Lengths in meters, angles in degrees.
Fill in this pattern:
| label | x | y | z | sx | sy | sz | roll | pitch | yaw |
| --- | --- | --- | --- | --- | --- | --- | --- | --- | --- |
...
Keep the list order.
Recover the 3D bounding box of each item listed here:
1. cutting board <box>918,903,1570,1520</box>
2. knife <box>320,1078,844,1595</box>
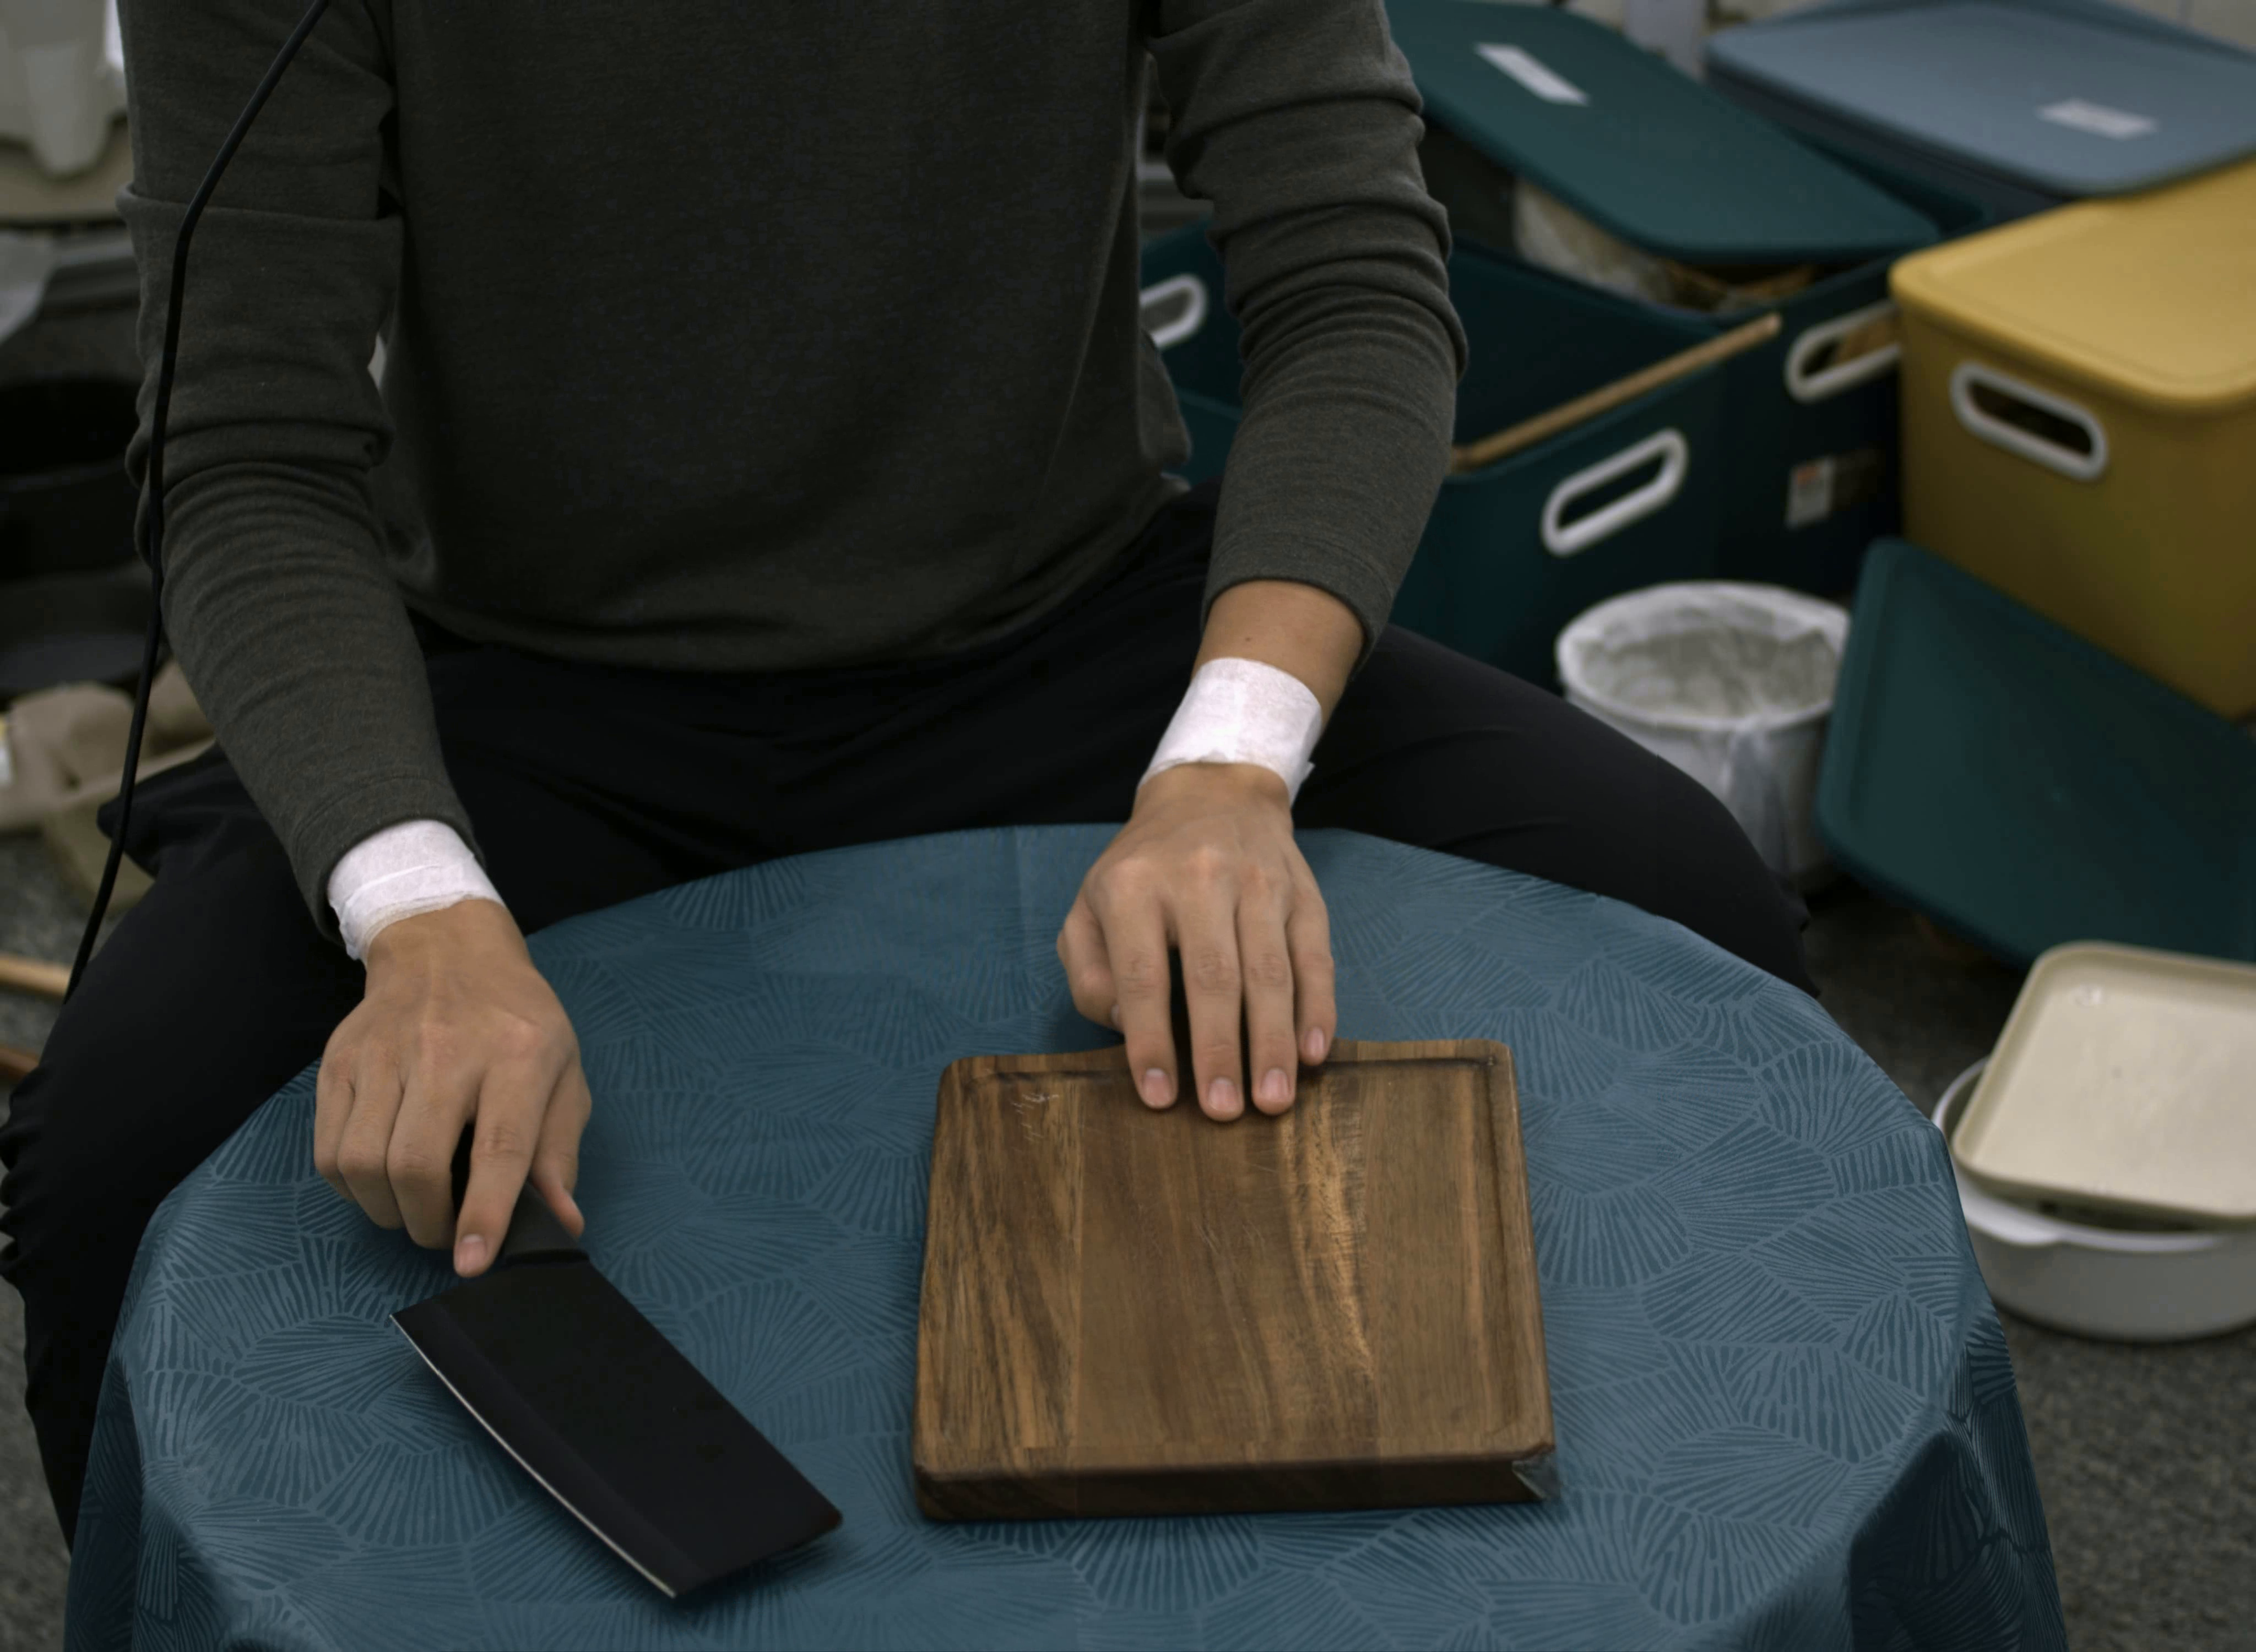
| label | x | y | z | sx | sy | sz | roll | pitch | yaw |
| --- | --- | --- | --- | --- | --- | --- | --- | --- | --- |
| cutting board | 0.033 | 0.117 | 1.843 | 0.200 | 0.023 | 0.357 | -2 | 27 | 1 |
| knife | -0.188 | 0.157 | 1.774 | 0.081 | 0.020 | 0.304 | -17 | 33 | -23 |
